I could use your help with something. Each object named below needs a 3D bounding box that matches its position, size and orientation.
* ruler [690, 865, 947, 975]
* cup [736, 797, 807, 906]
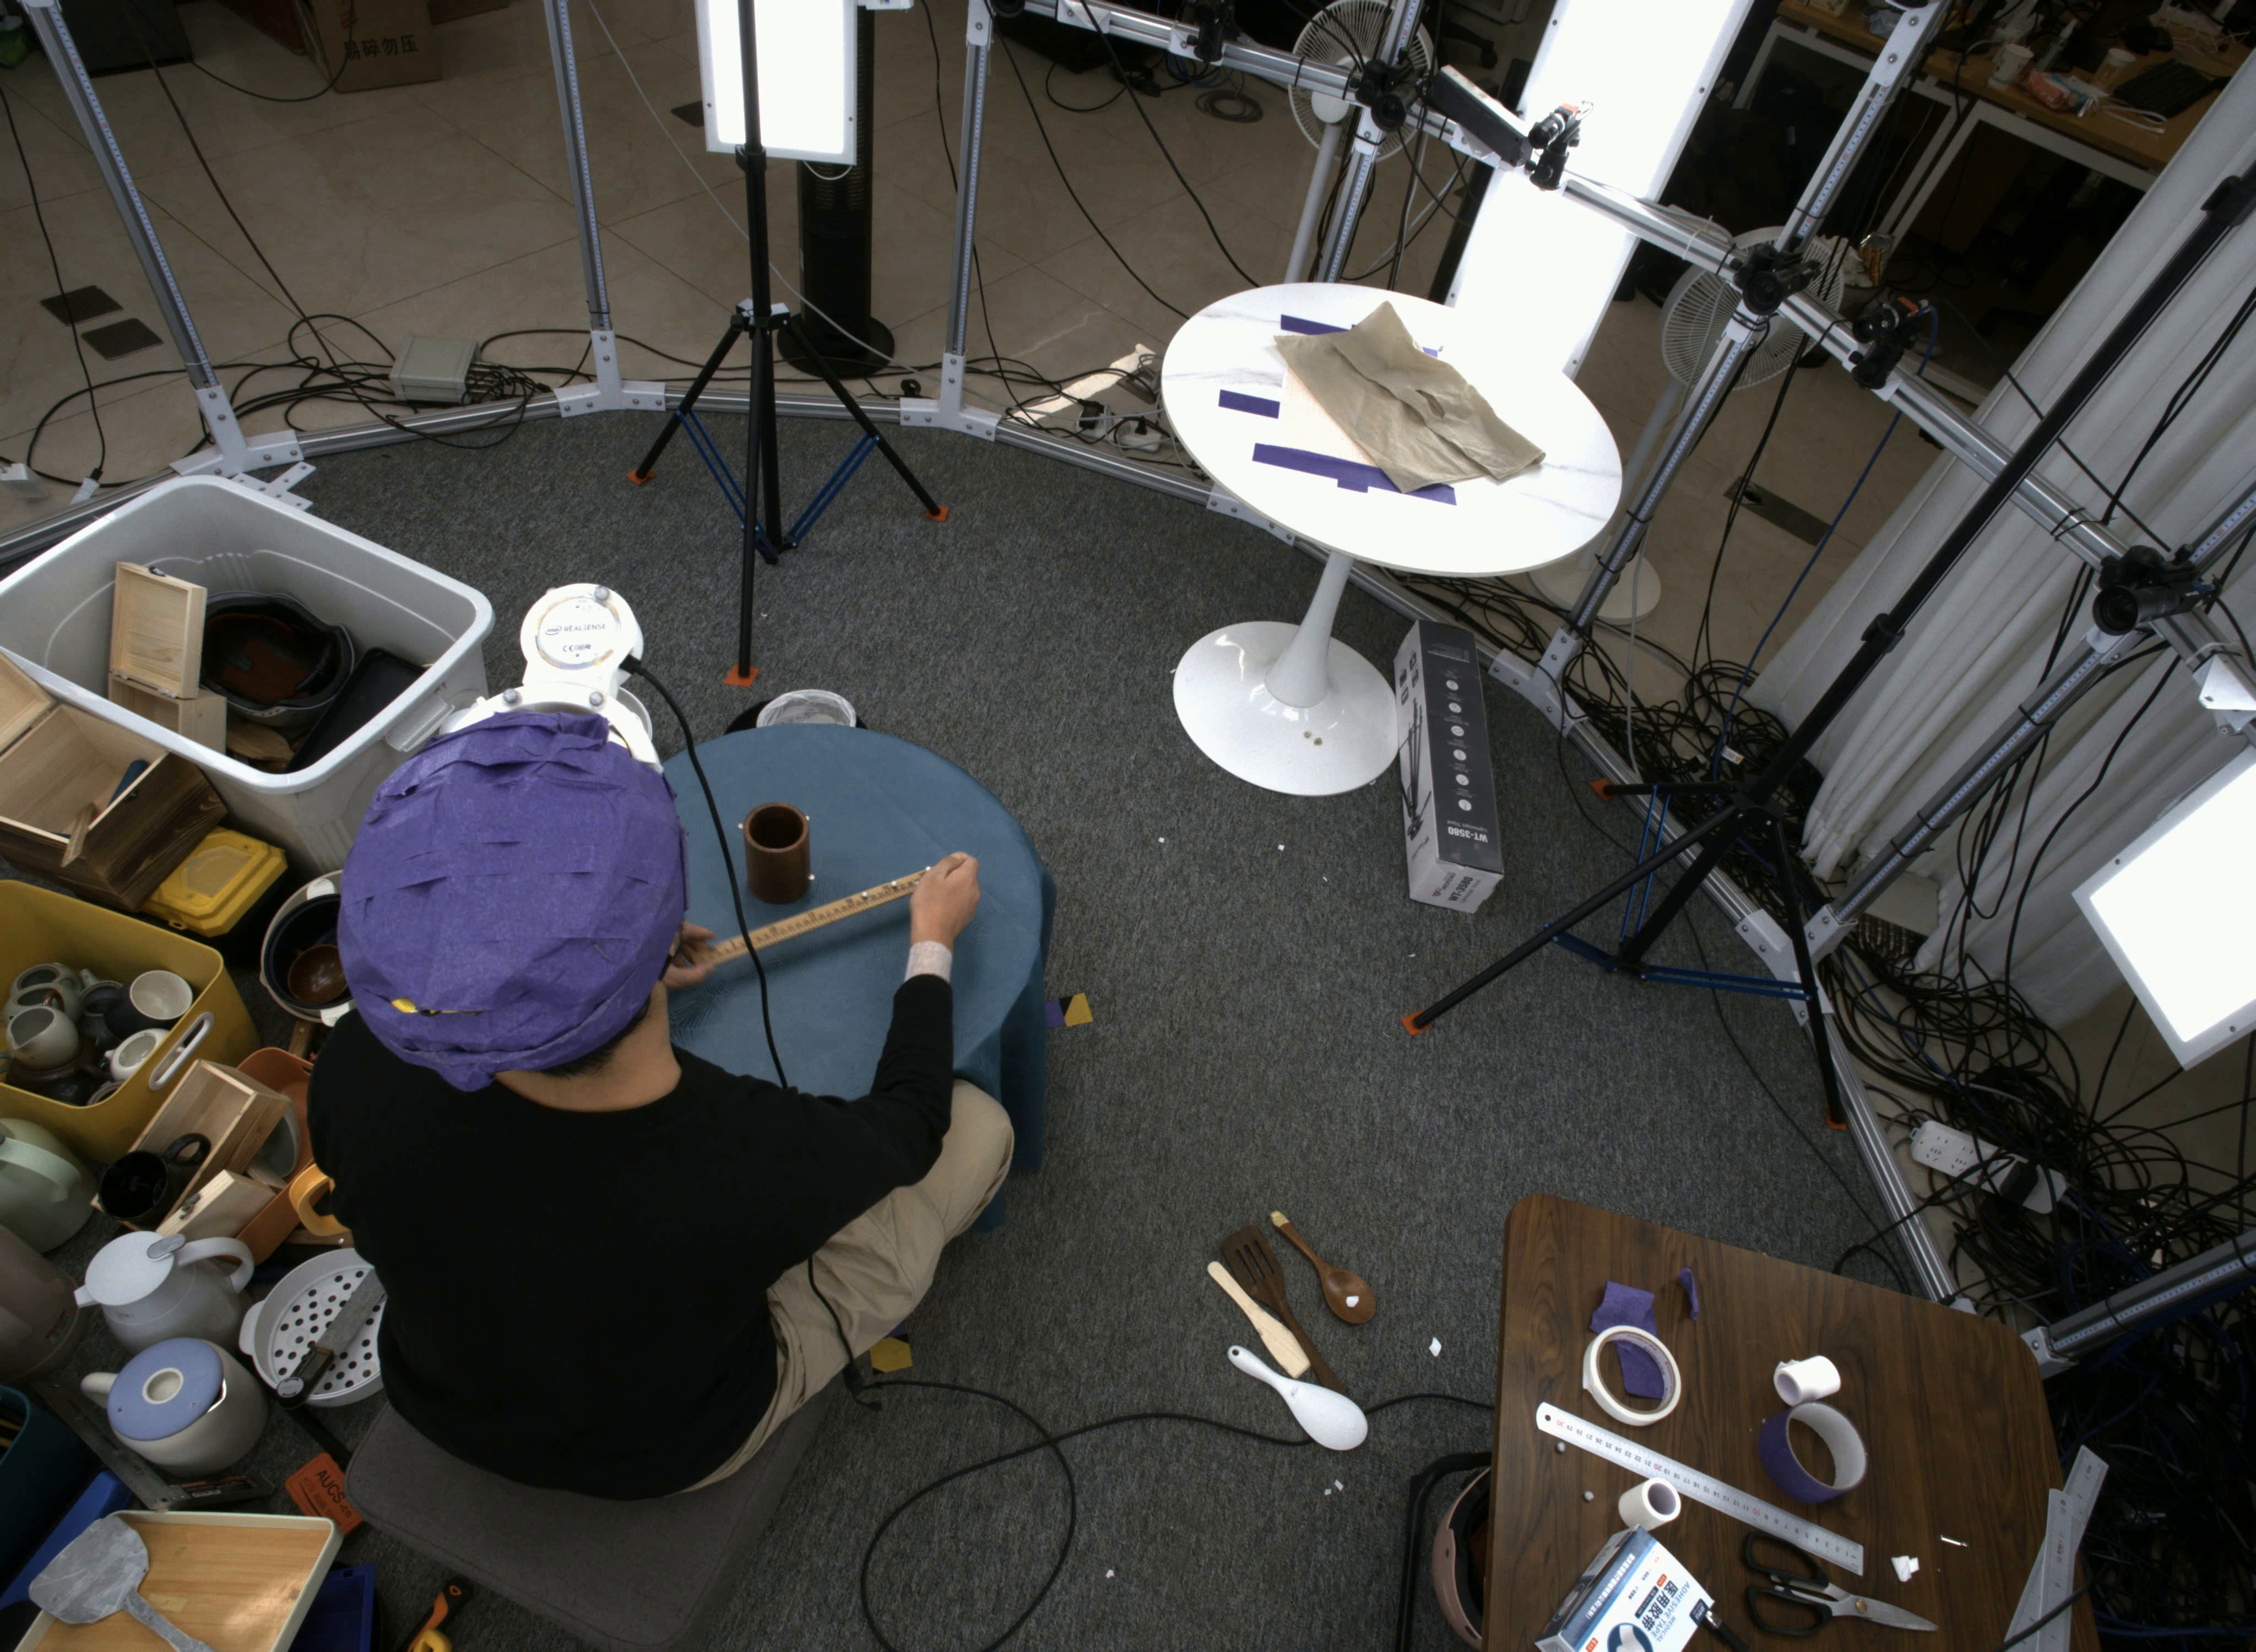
[{"bbox_3d":[-0.376,0.109,1.598,0.333,0.022,0.027,-21,61,-27],"label":"ruler"},{"bbox_3d":[-0.443,0.031,1.615,0.087,0.121,0.086,6,51,-6],"label":"cup"}]
